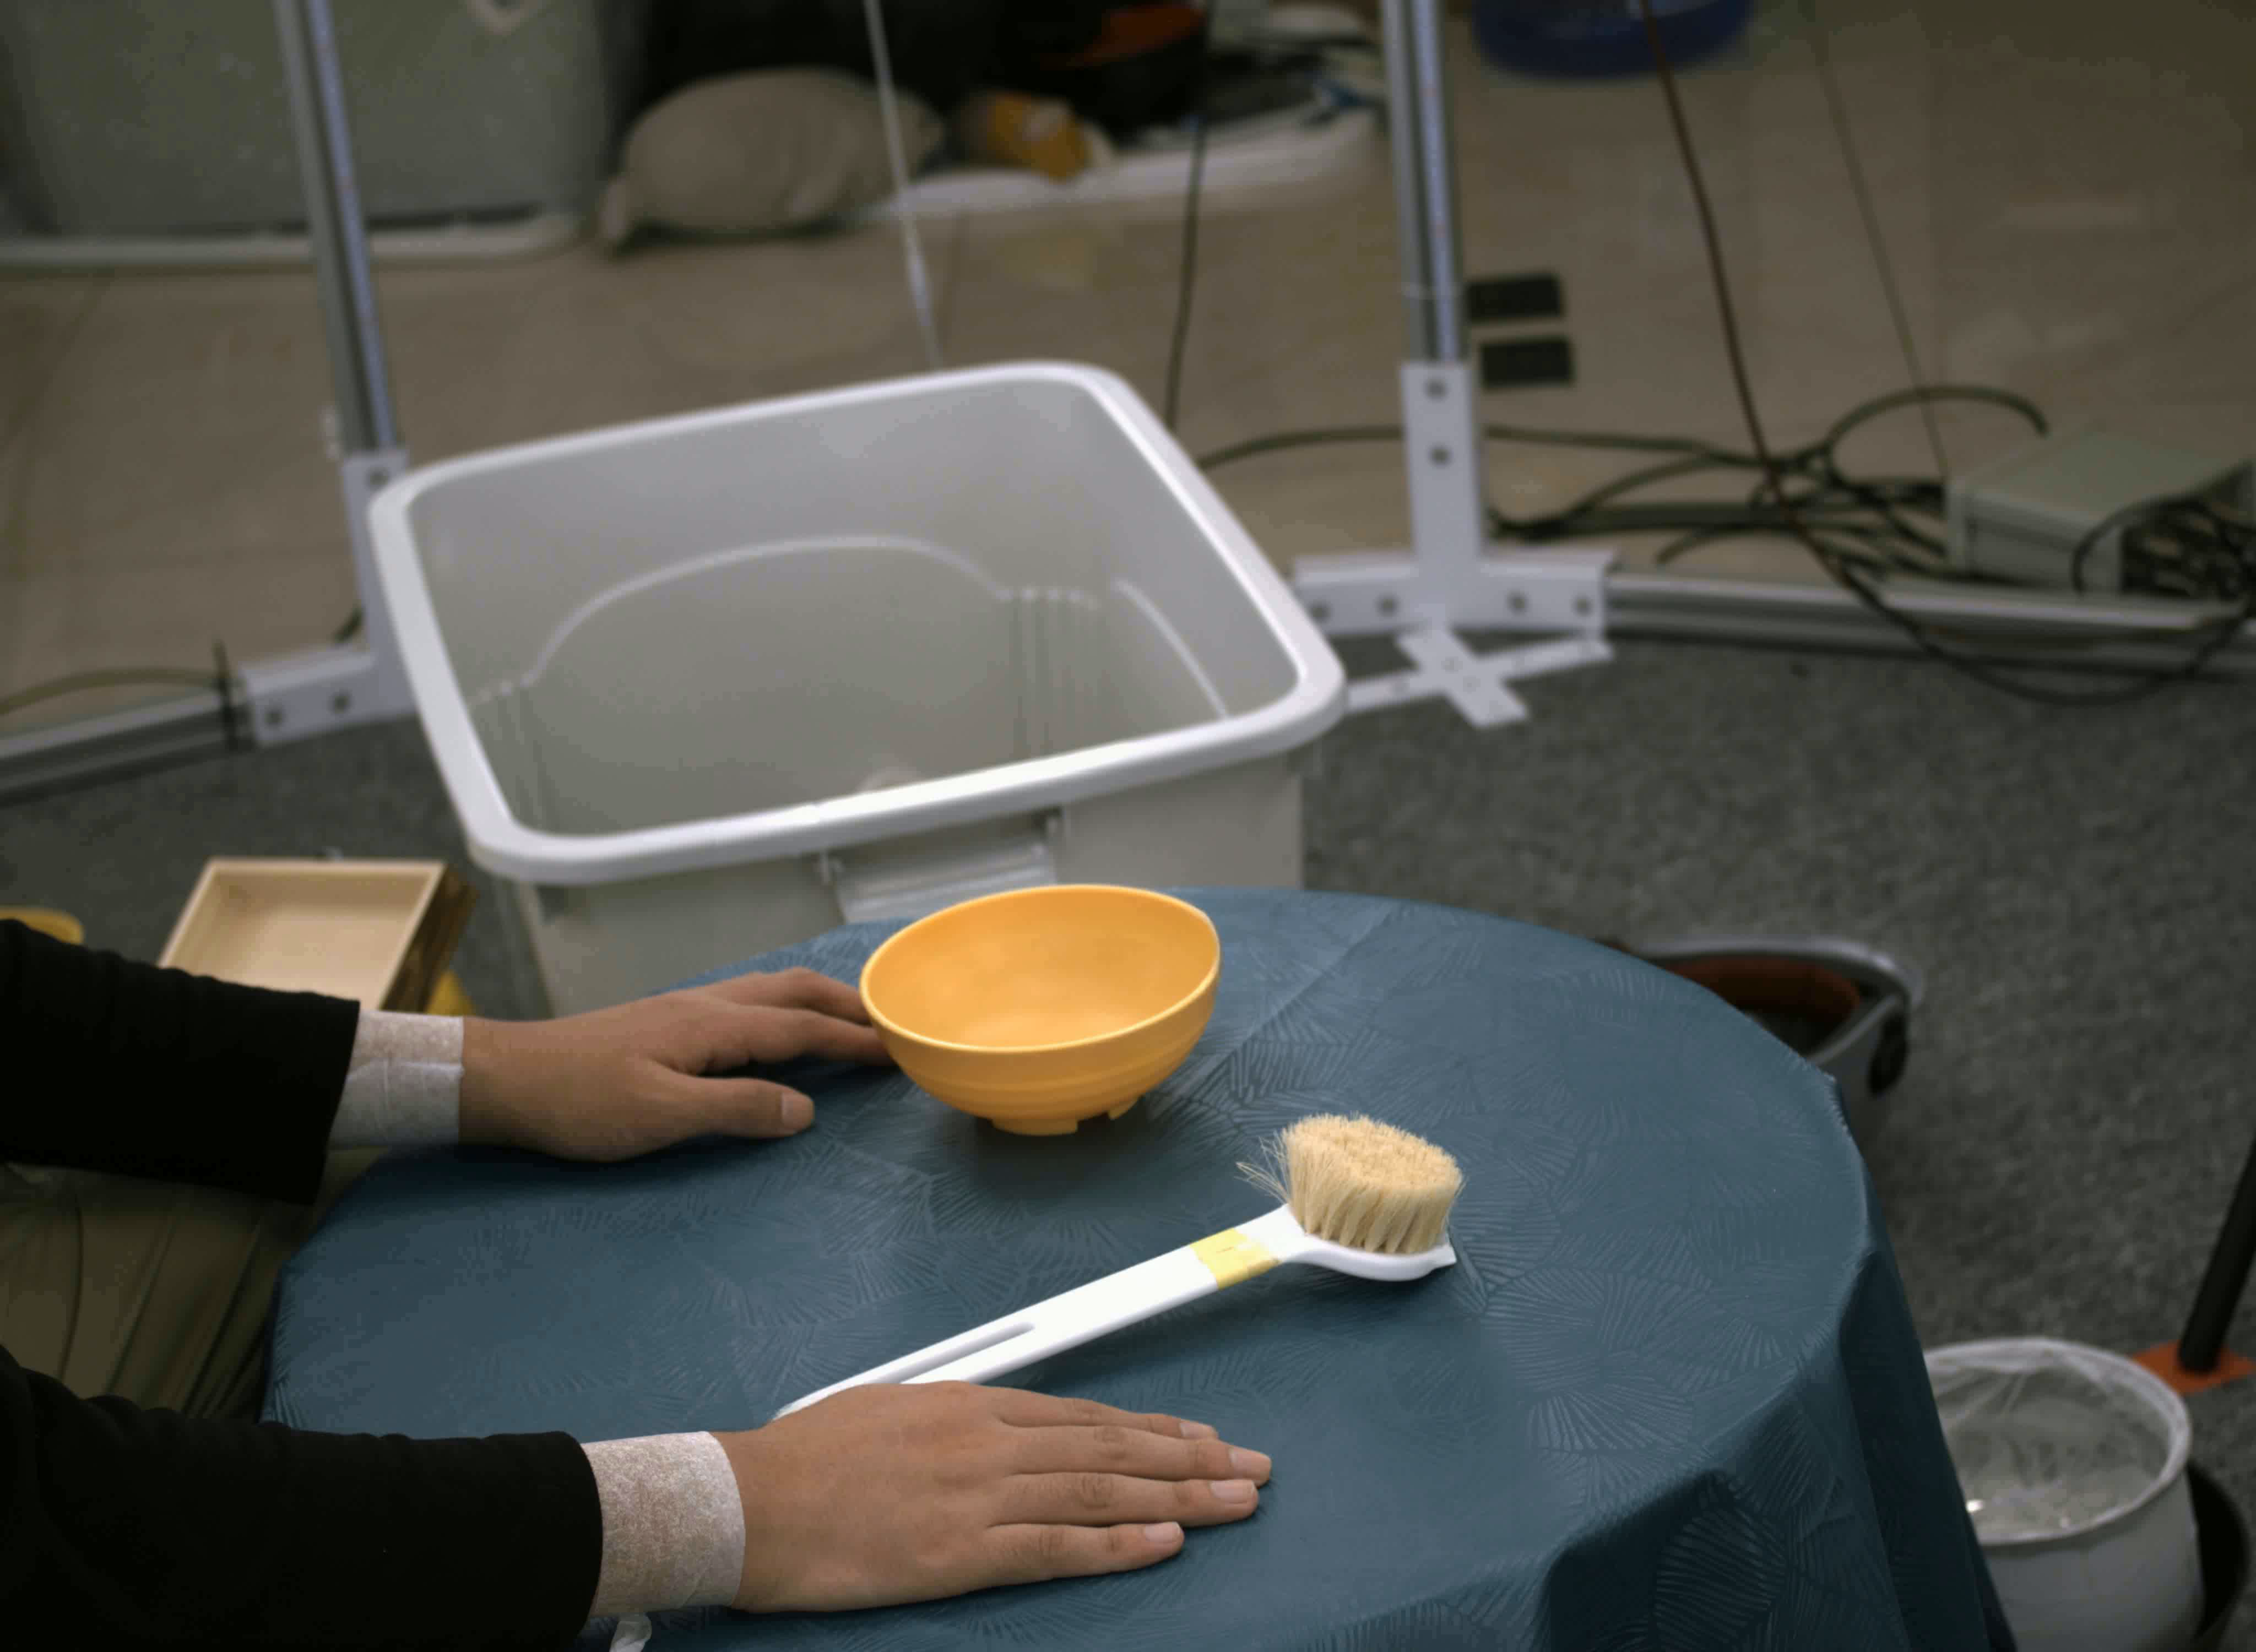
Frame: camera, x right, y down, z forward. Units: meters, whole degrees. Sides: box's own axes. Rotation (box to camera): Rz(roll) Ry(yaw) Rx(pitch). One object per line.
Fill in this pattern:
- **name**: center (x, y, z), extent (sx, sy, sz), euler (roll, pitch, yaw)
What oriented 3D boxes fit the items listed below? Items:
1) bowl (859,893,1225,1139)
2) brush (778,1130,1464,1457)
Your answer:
- **bowl**: center (-0.030, 0.081, 2.210), extent (0.145, 0.061, 0.143), euler (-6, 24, 3)
- **brush**: center (-0.003, 0.164, 2.031), extent (0.265, 0.057, 0.068), euler (-15, 22, -16)
